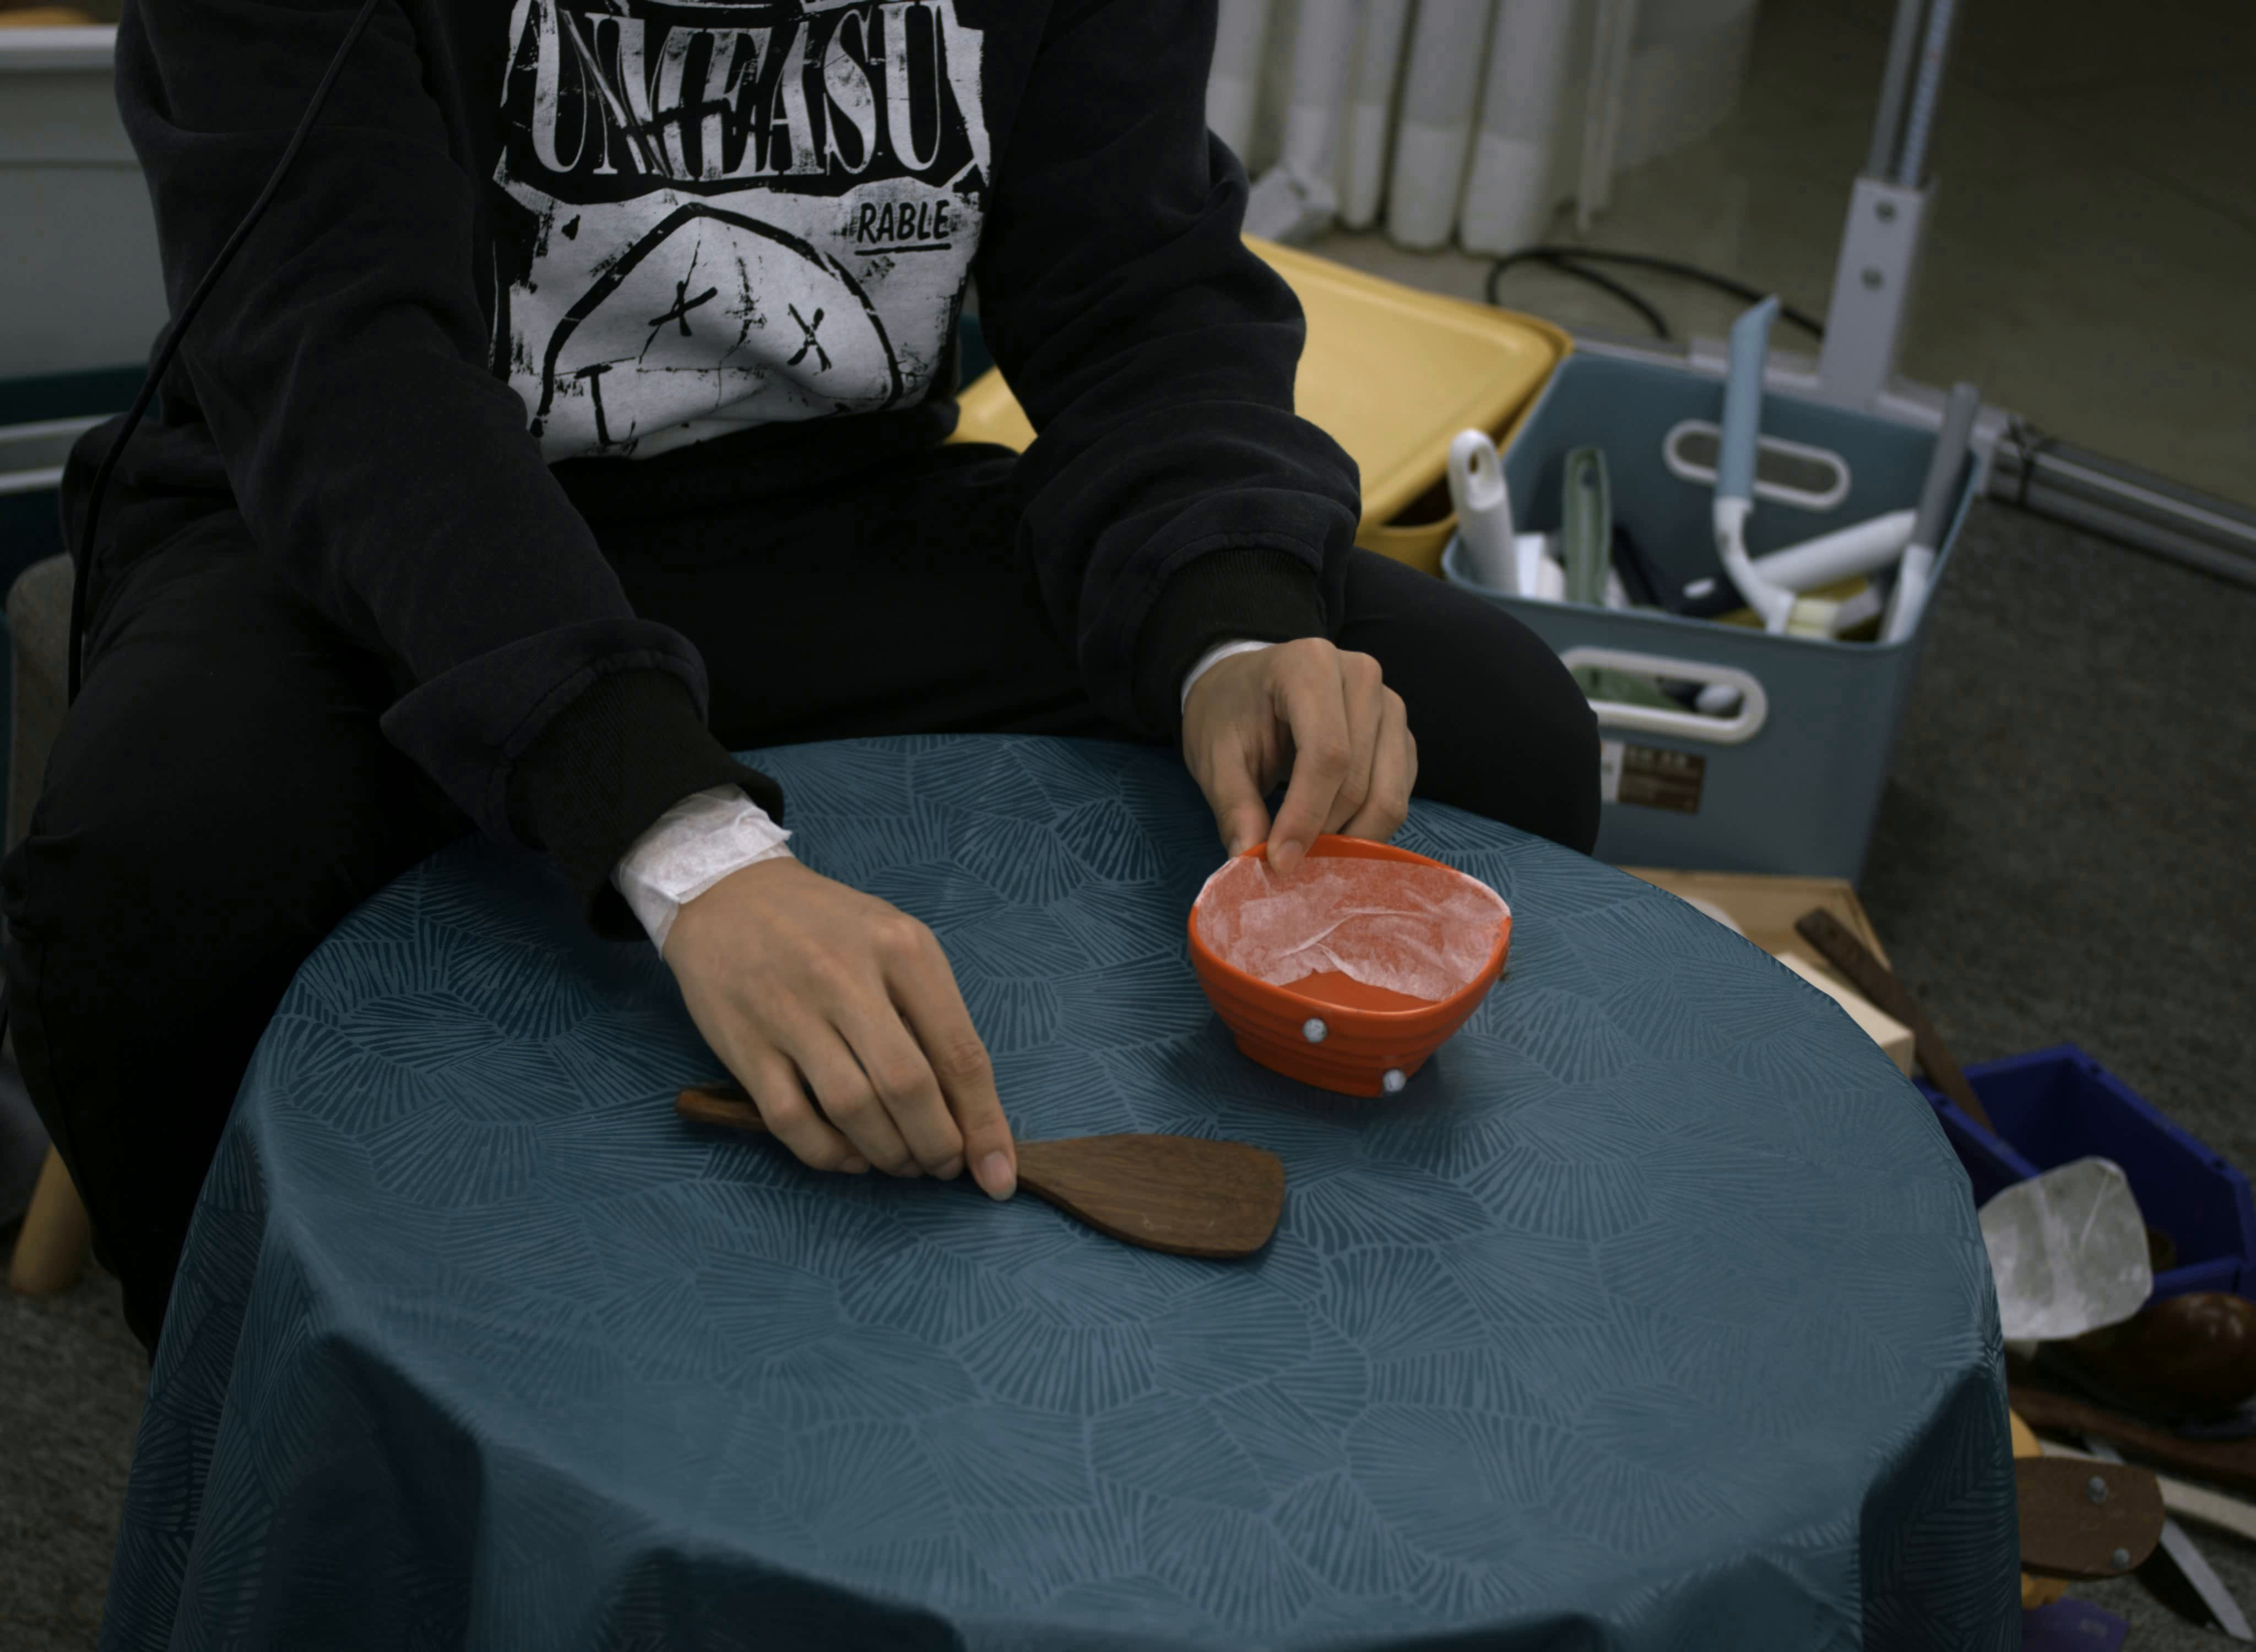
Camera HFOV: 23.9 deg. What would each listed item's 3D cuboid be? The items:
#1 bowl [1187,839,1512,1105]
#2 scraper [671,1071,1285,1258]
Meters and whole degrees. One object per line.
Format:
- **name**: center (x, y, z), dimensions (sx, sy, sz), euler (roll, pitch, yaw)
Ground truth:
- **bowl**: center (0.078, 0.057, 1.896), dimensions (0.118, 0.051, 0.120), euler (1, 34, -1)
- **scraper**: center (-0.051, 0.110, 1.800), dimensions (0.211, 0.011, 0.076), euler (11, 26, 4)
